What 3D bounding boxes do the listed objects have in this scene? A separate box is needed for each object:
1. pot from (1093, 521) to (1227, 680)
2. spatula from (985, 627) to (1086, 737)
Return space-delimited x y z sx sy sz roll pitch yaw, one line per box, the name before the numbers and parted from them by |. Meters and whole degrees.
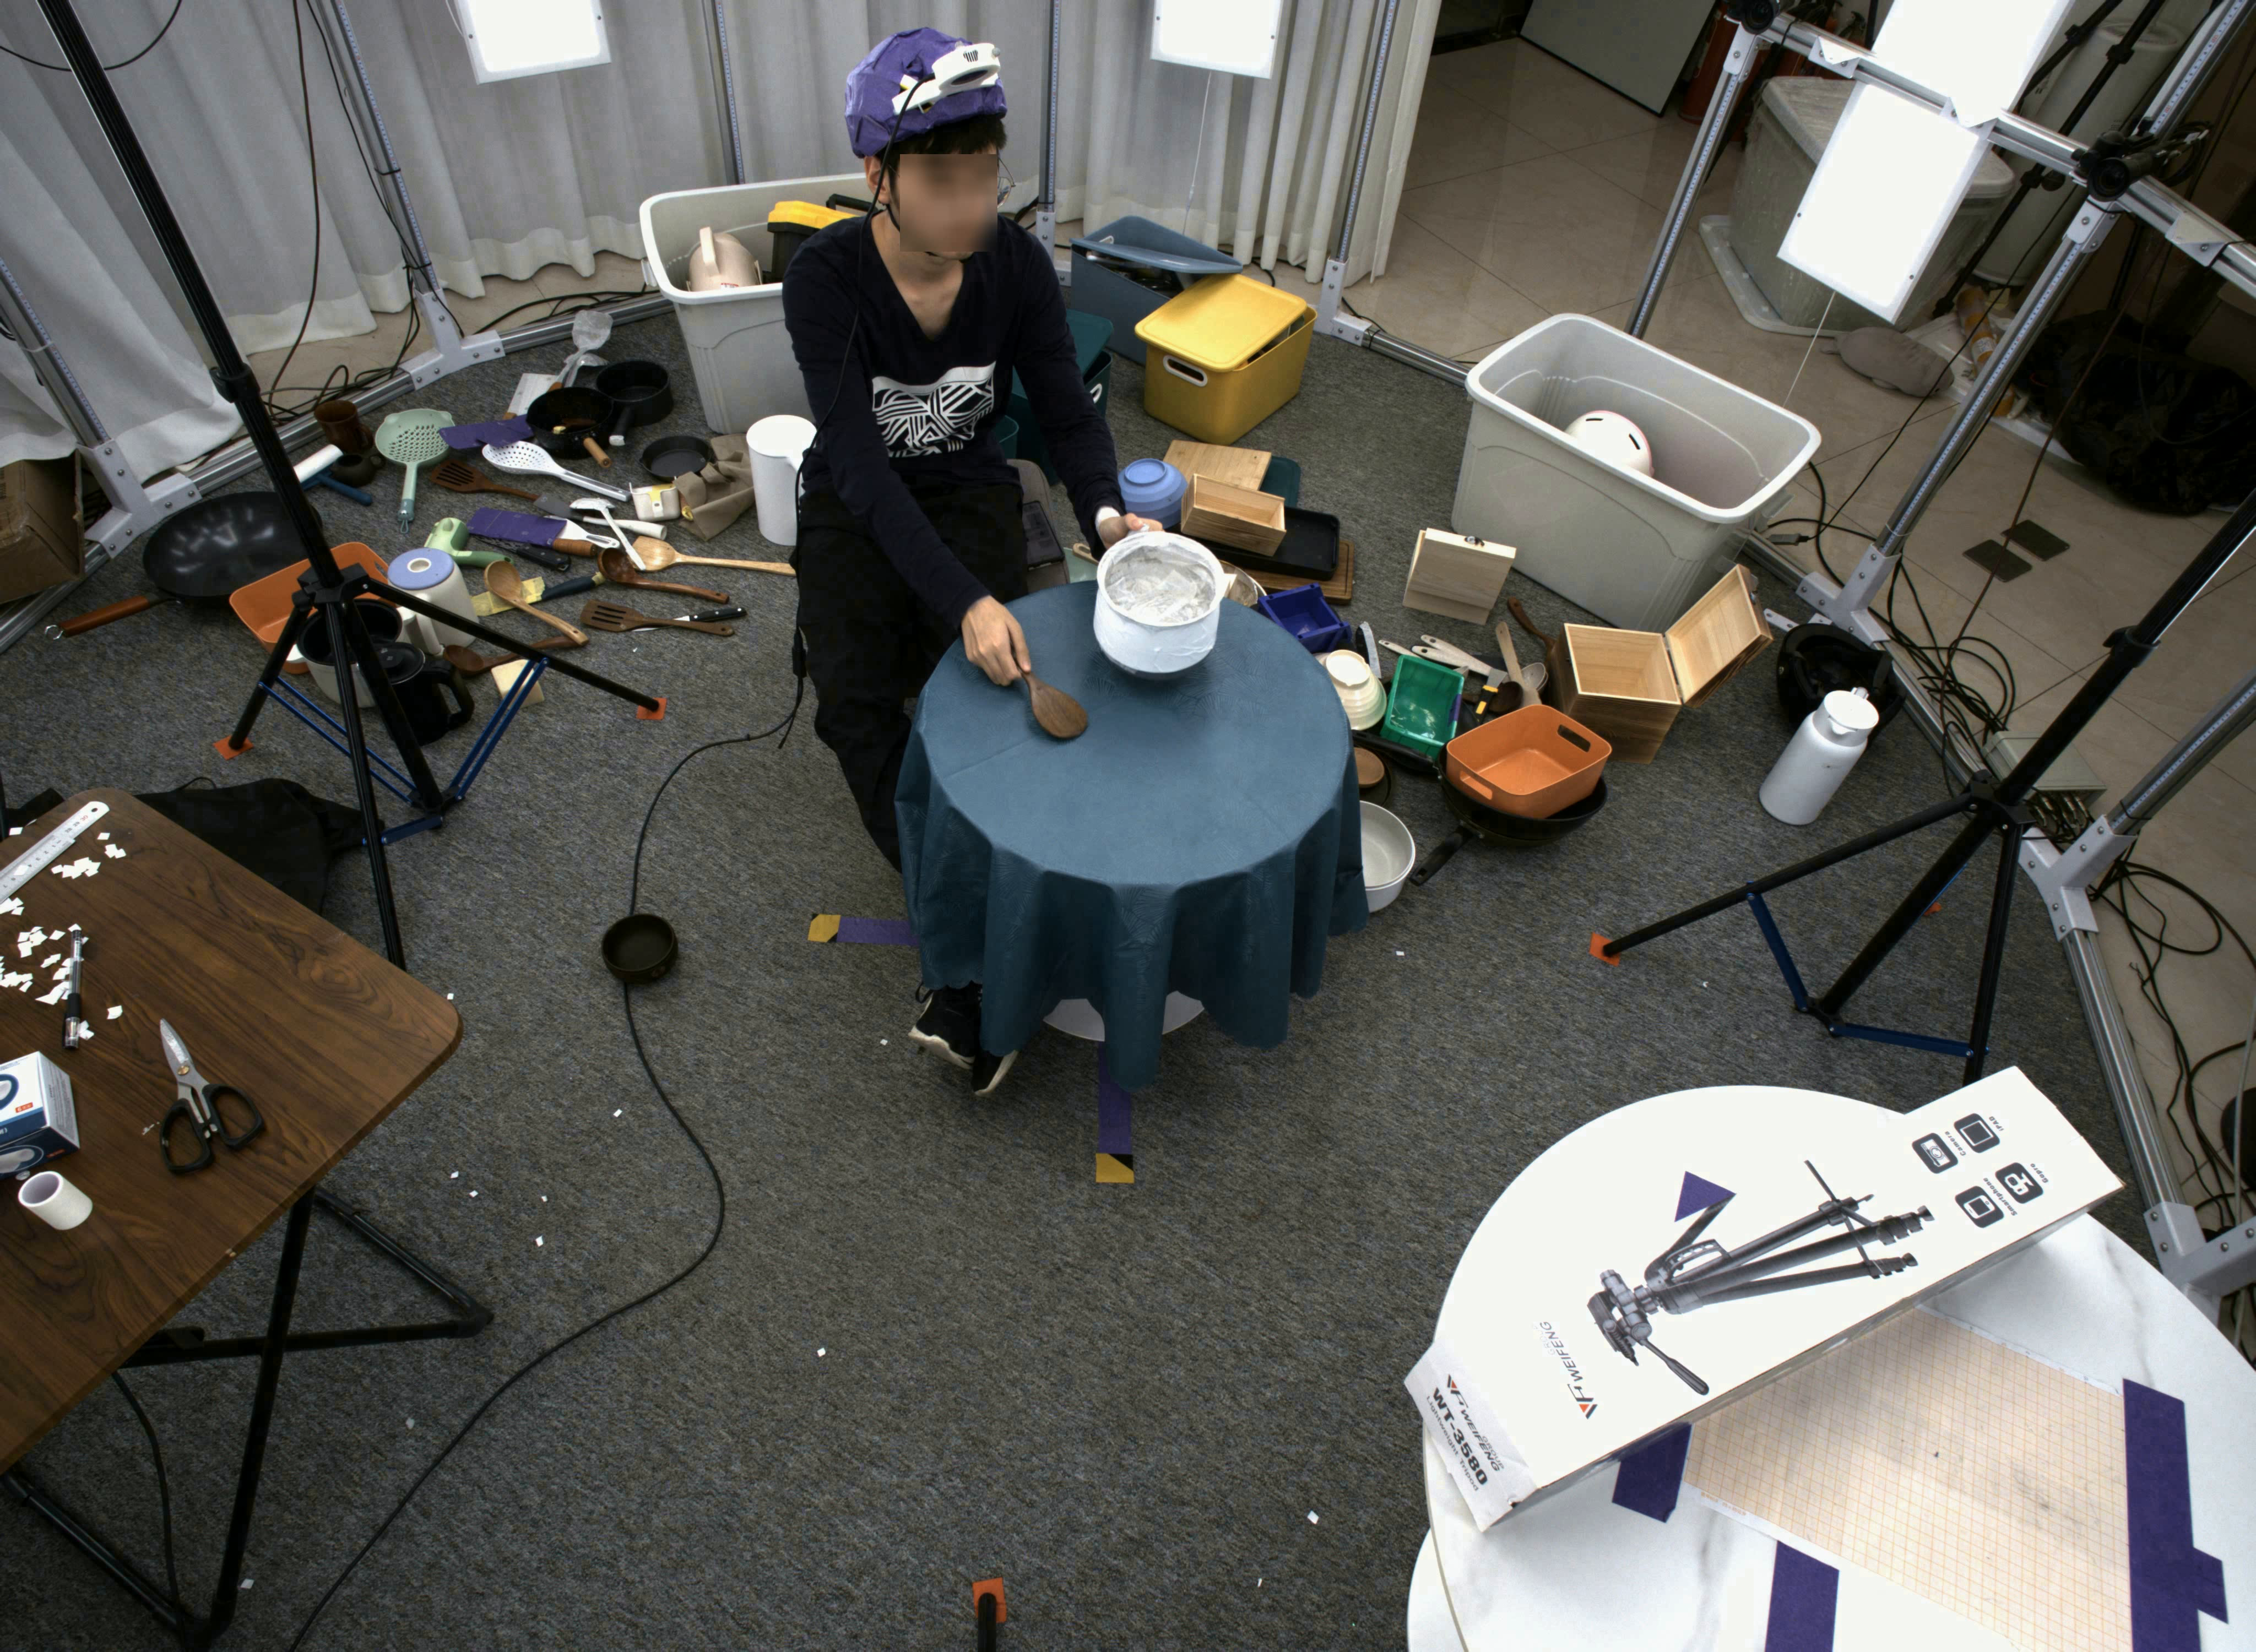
pot | 0.034 -0.329 1.820 0.178 0.133 0.239 -10 58 -14
spatula | -0.135 -0.207 1.801 0.072 0.009 0.219 -23 62 -32
